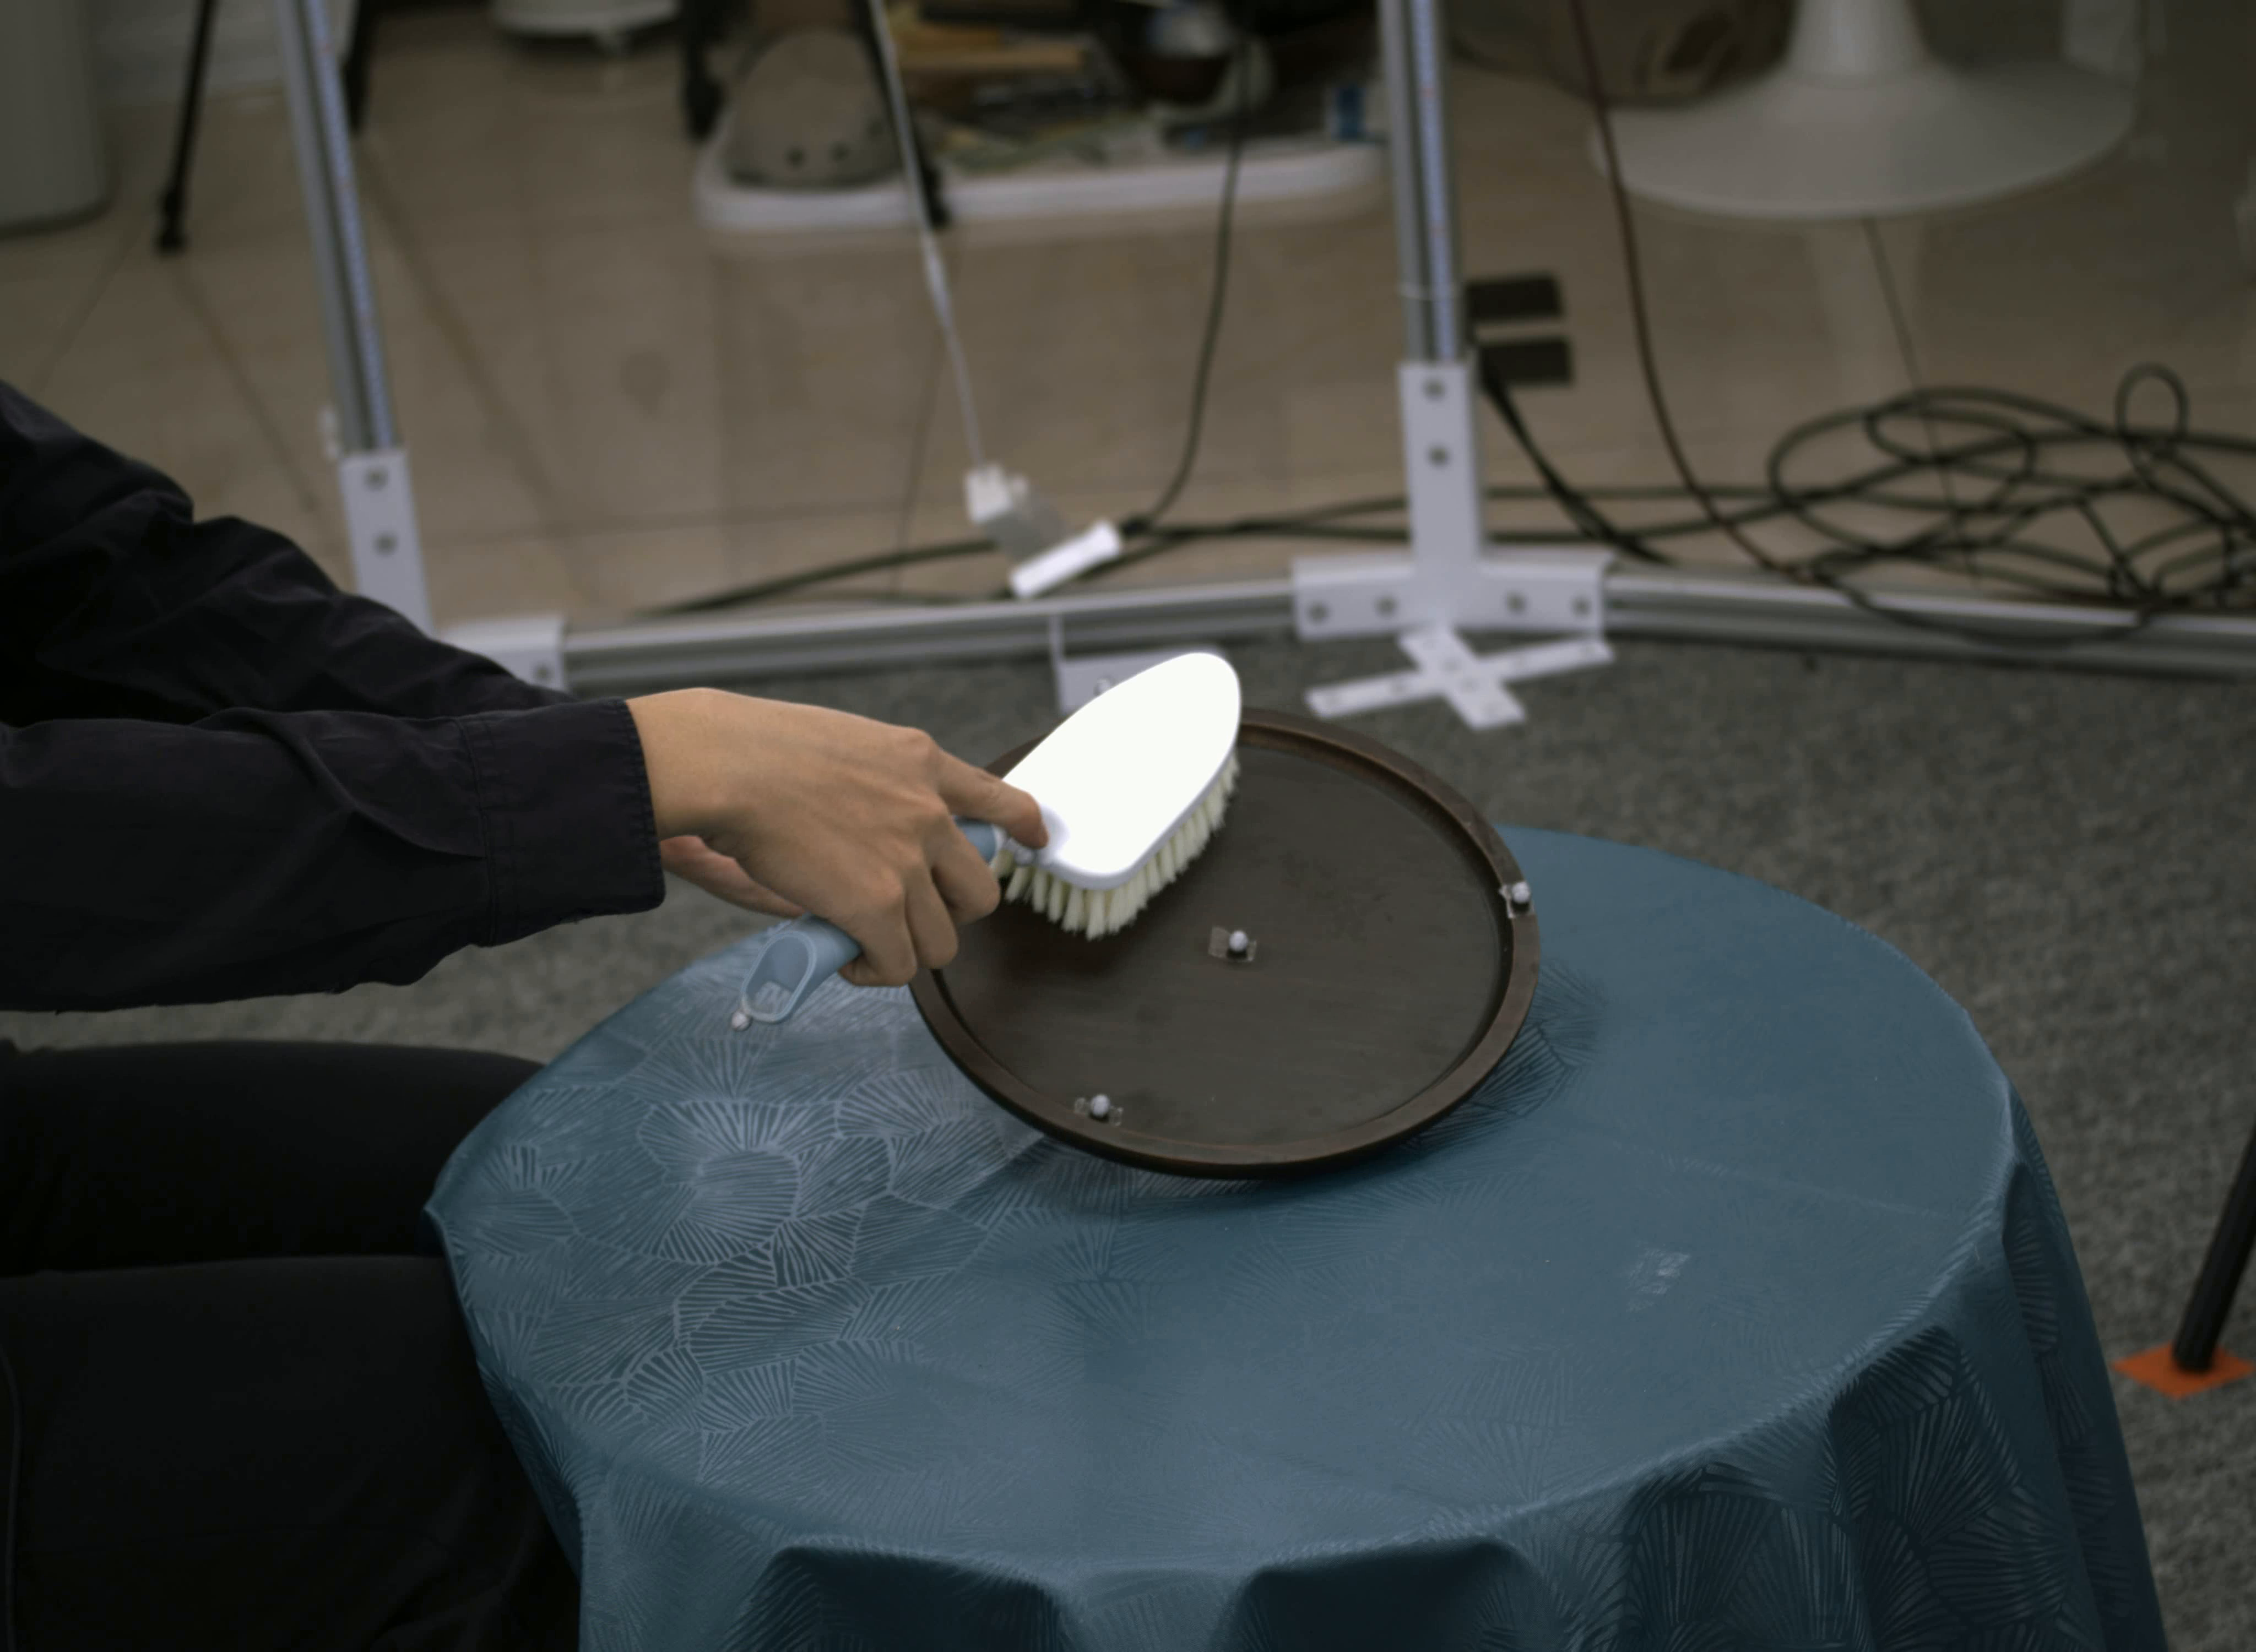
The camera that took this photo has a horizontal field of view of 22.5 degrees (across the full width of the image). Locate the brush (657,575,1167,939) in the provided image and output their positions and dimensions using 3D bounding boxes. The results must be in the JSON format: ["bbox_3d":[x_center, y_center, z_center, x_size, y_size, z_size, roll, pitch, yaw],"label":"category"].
[{"bbox_3d":[-0.085,-0.007,2.187,0.083,0.085,0.322,-12,16,40],"label":"brush"}]

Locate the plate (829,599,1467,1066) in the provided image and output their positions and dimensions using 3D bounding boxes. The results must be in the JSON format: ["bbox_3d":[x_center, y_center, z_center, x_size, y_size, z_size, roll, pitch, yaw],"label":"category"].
[{"bbox_3d":[0.007,0.001,2.247,0.254,0.029,0.250,2,48,-2],"label":"plate"}]
